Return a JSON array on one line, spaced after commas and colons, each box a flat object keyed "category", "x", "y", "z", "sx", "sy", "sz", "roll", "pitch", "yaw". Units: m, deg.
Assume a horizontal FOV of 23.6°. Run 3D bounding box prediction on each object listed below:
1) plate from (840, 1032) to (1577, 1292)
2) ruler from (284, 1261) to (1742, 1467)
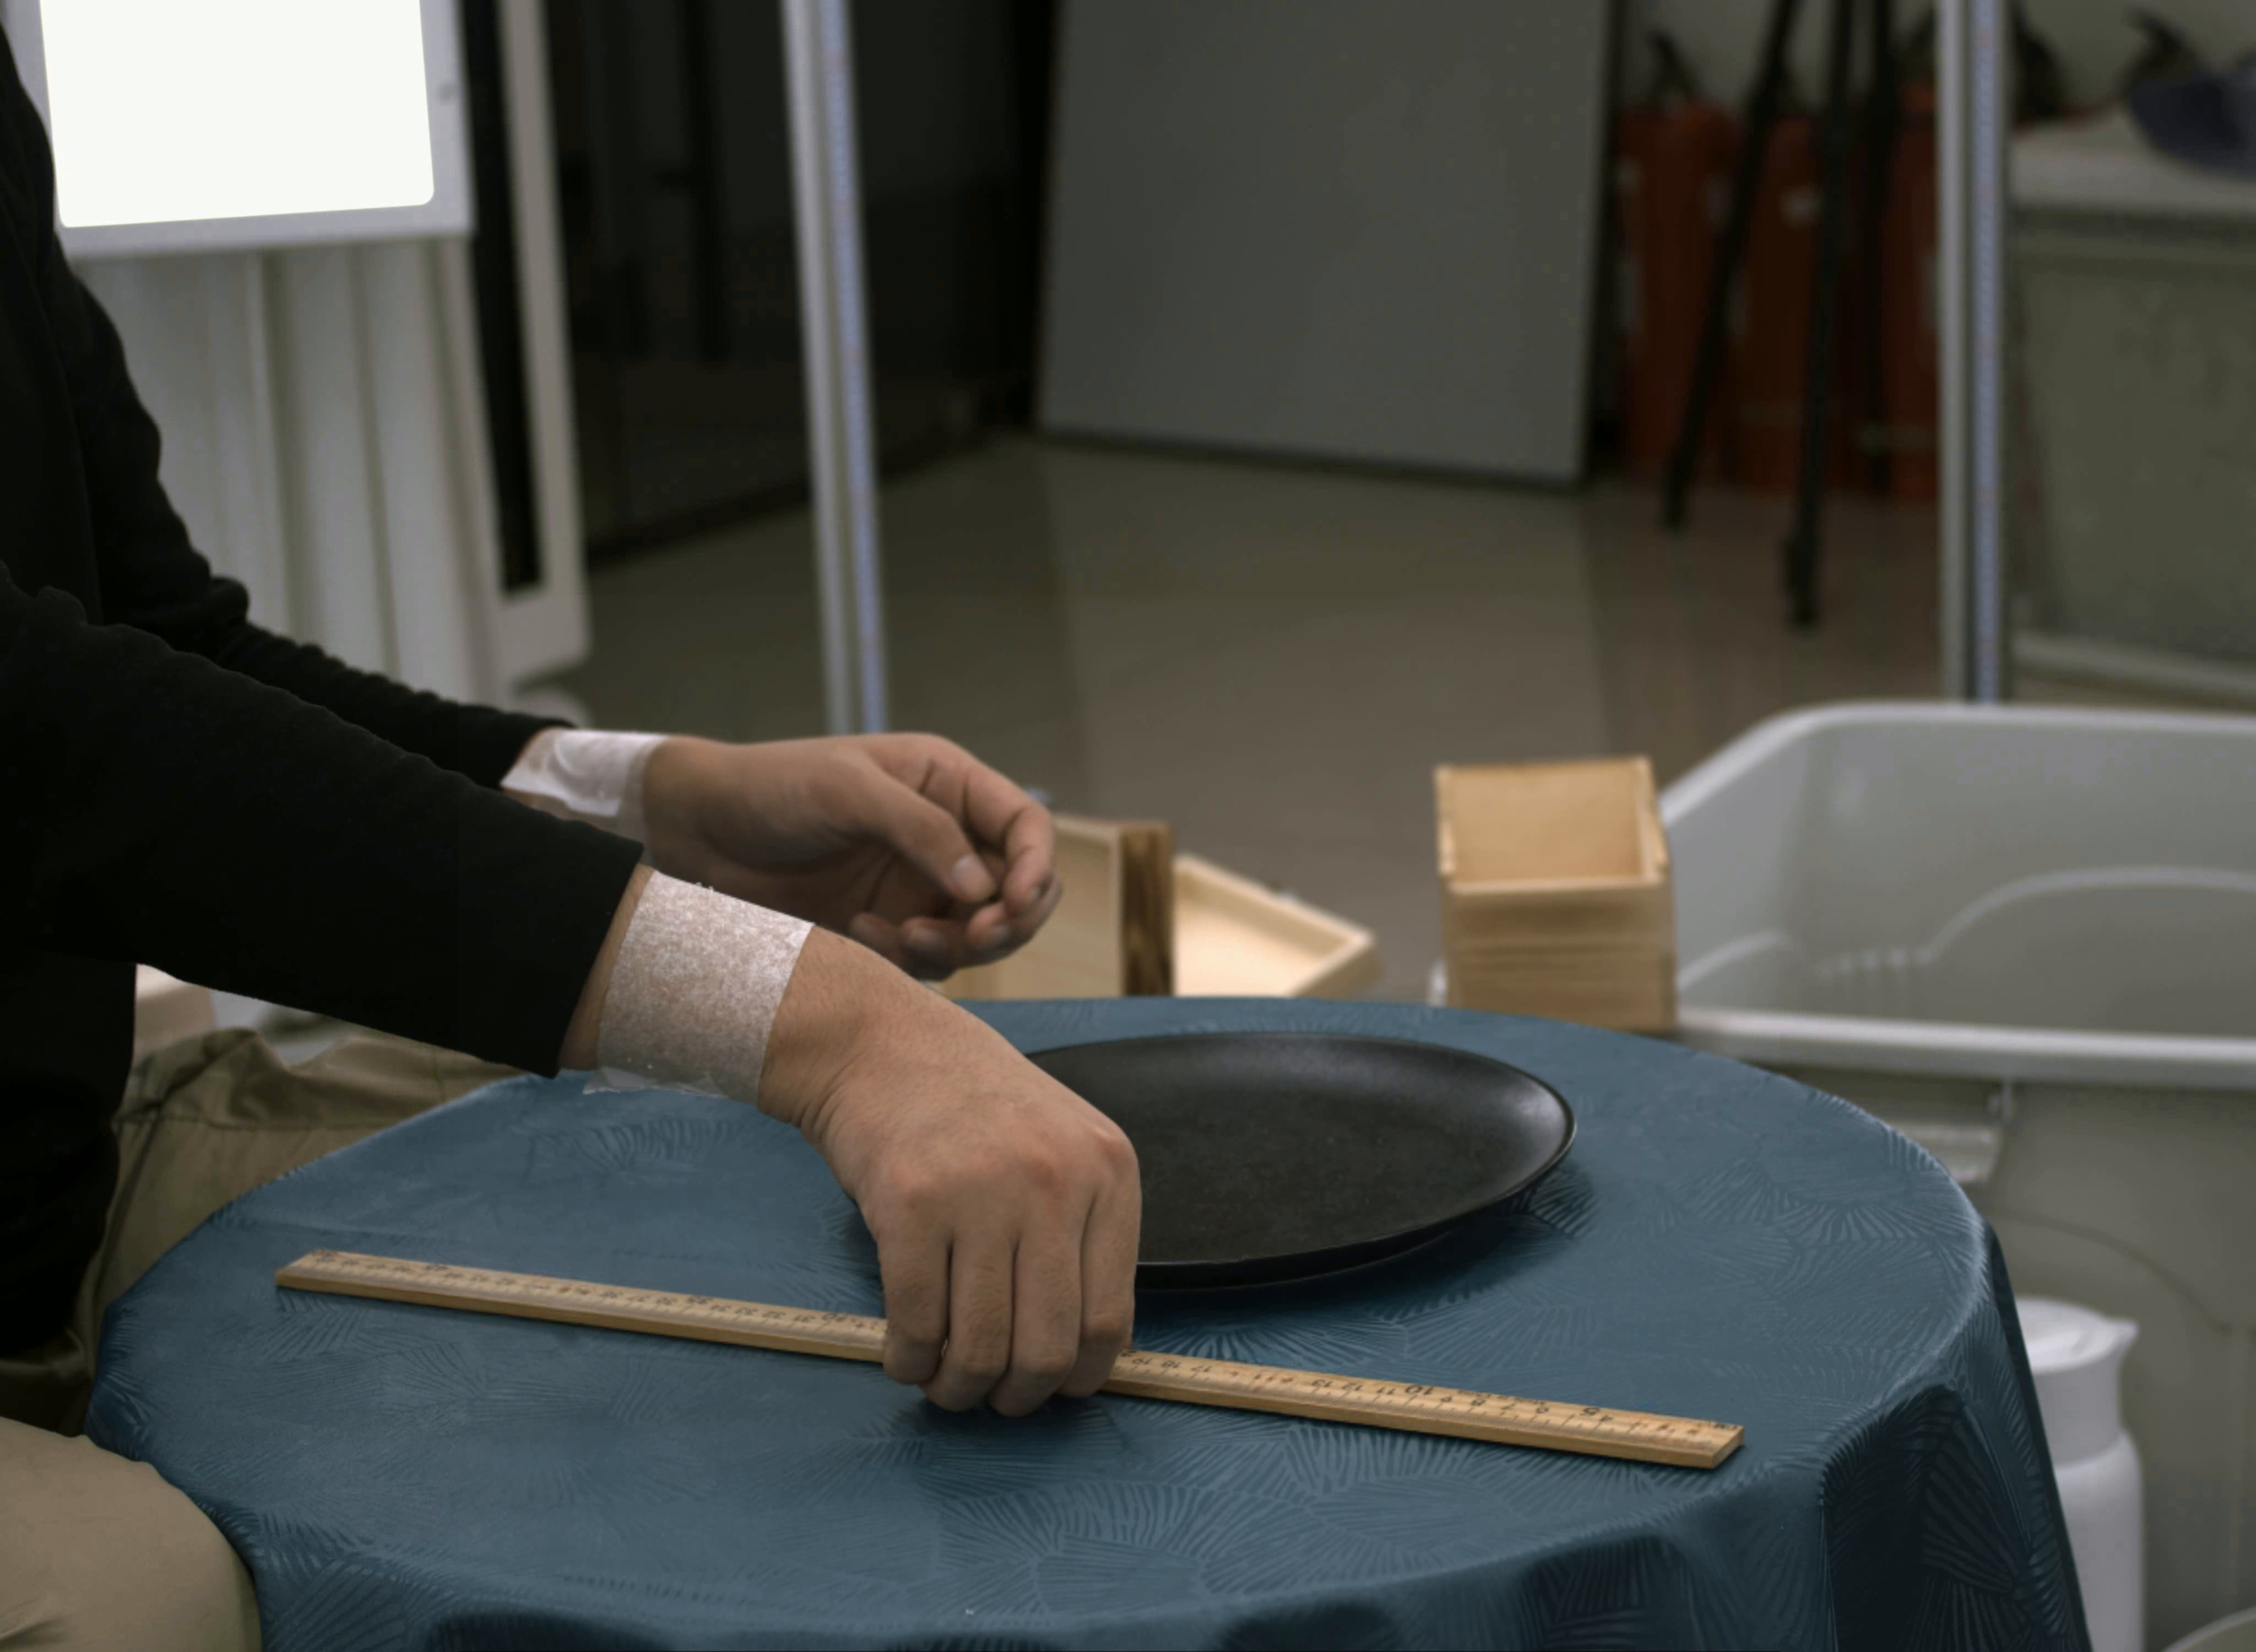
[{"category": "plate", "x": 0.027, "y": 0.111, "z": 1.752, "sx": 0.241, "sy": 0.024, "sz": 0.245, "roll": -4, "pitch": 14, "yaw": 0}, {"category": "ruler", "x": -0.048, "y": 0.158, "z": 1.620, "sx": 0.502, "sy": 0.006, "sz": 0.026, "roll": 4, "pitch": 14, "yaw": 30}]
